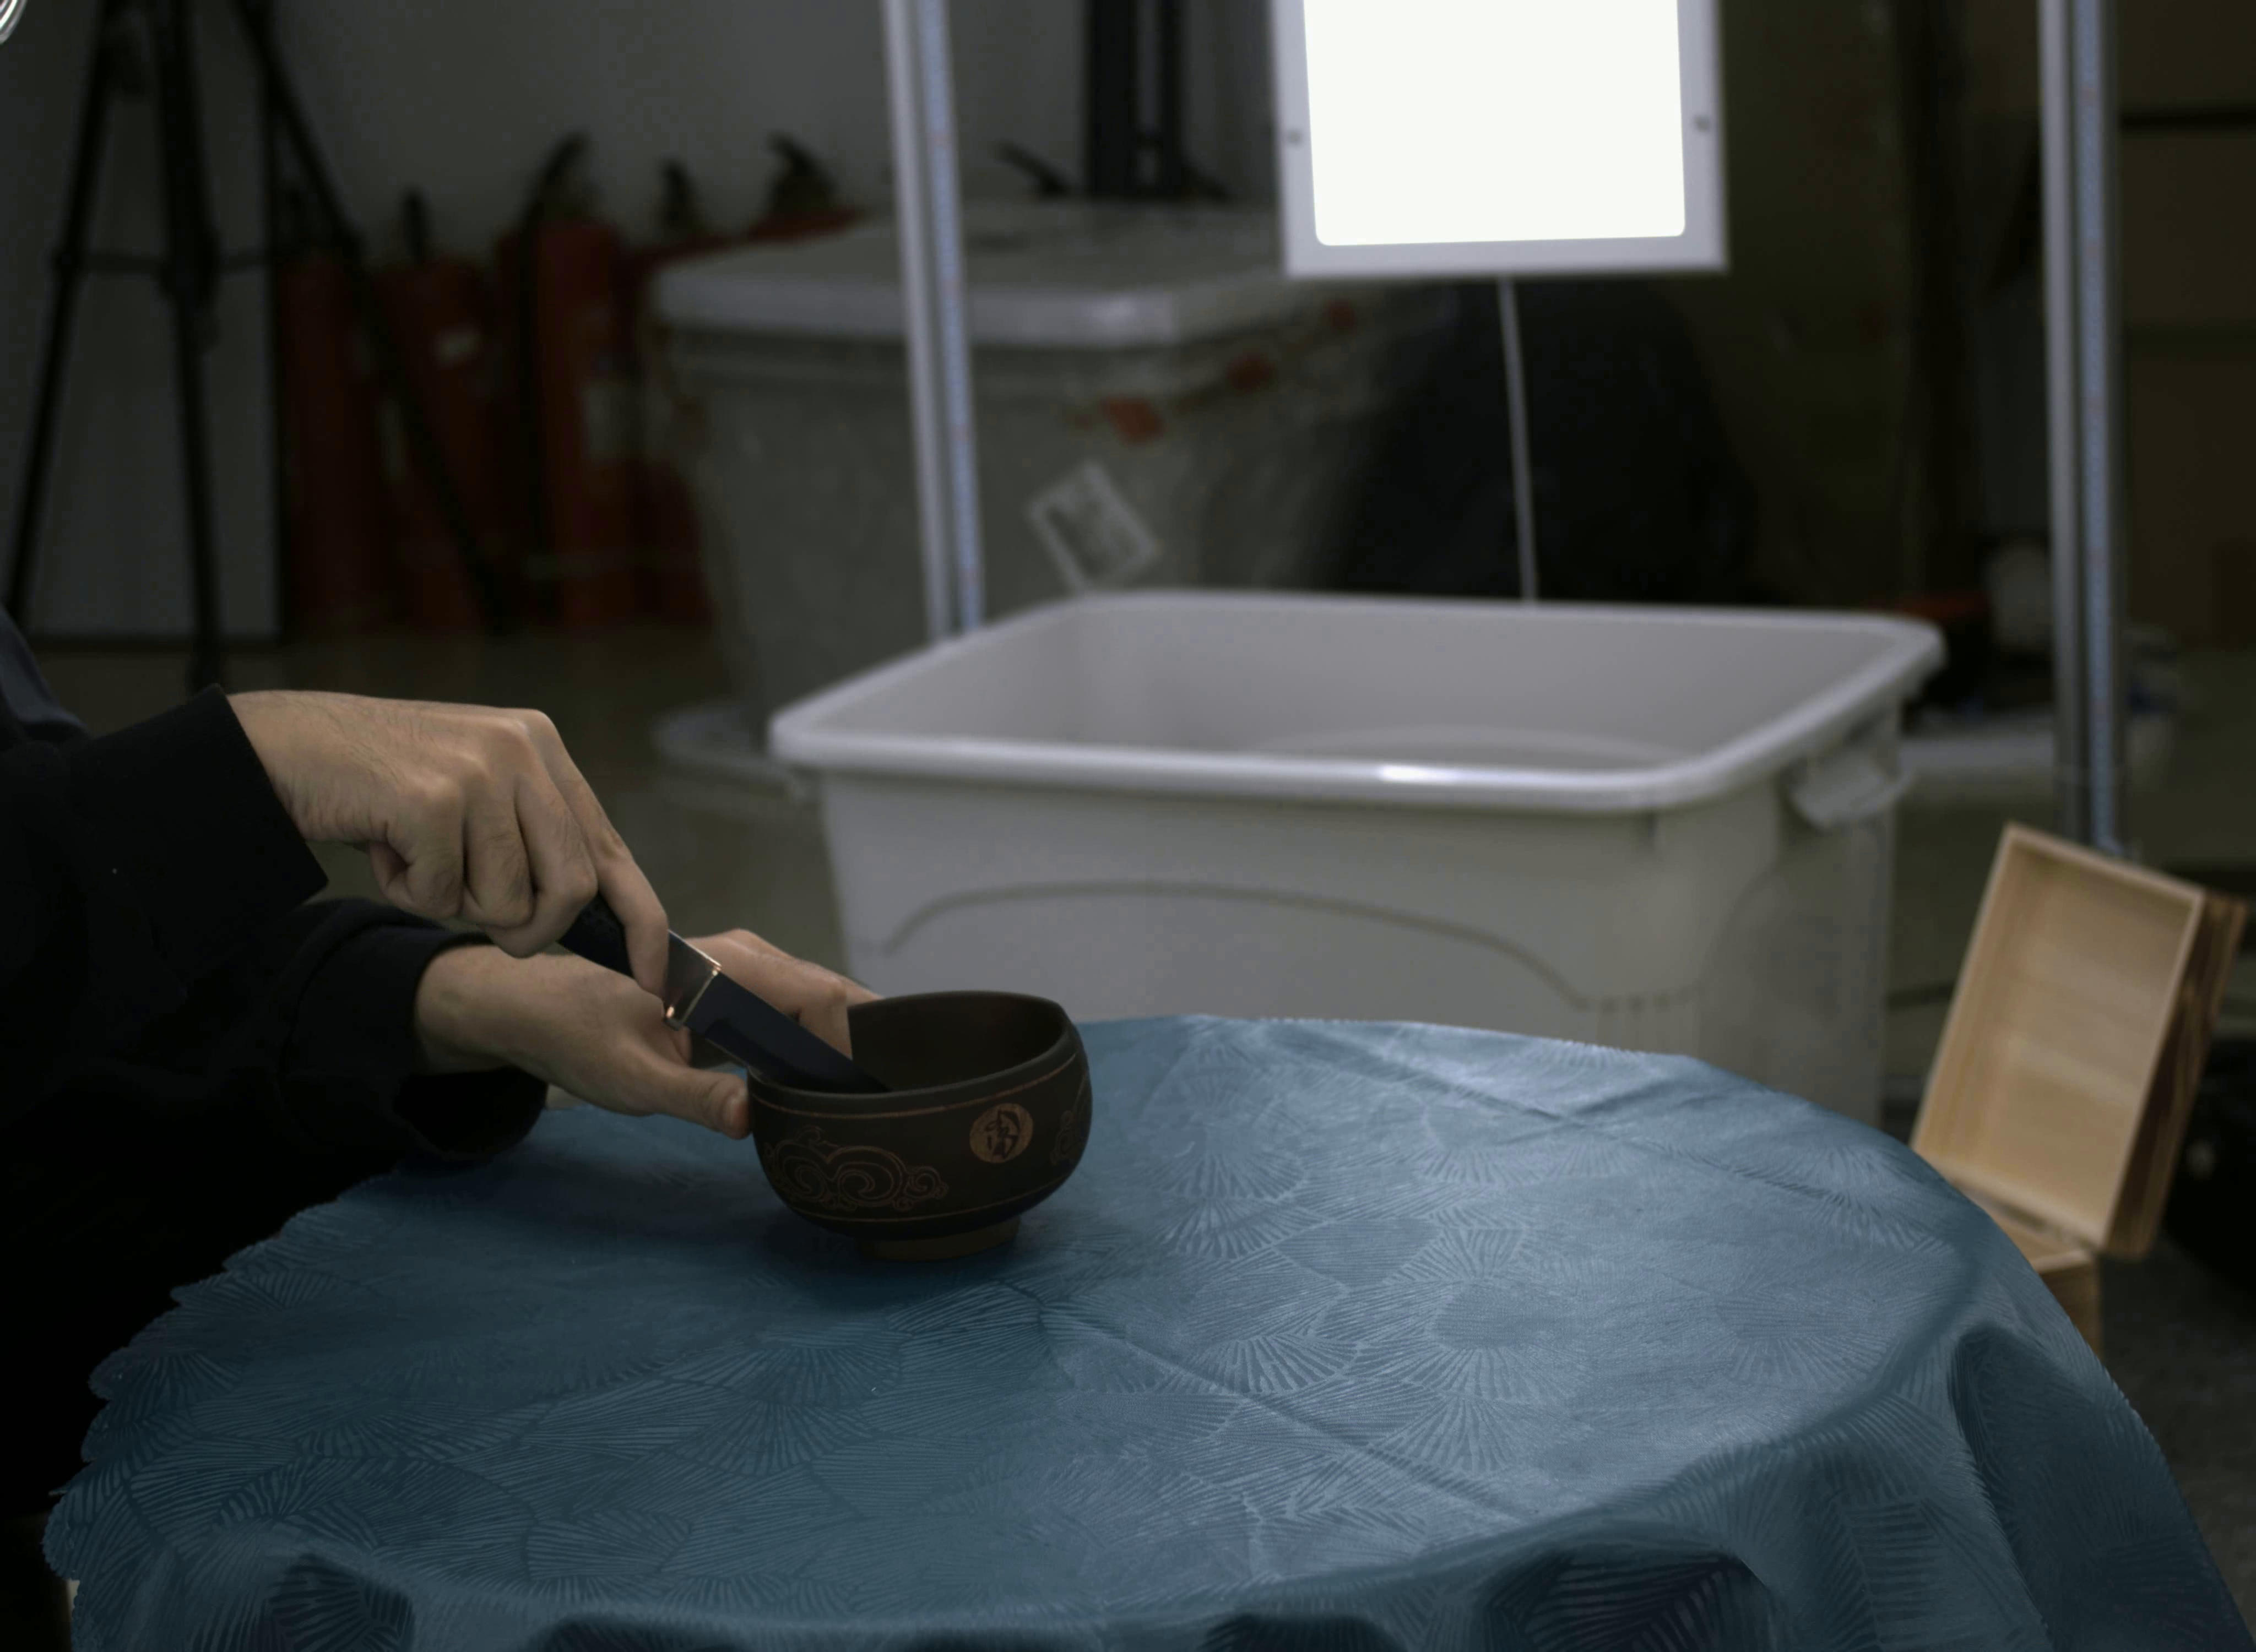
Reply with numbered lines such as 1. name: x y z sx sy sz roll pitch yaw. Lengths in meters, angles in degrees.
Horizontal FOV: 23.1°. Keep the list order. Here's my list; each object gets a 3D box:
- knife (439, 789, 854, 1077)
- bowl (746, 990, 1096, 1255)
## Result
1. knife: -0.138 0.058 1.826 0.223 0.026 0.017 37 -12 -16
2. bowl: -0.068 0.103 1.855 0.118 0.070 0.118 -7 12 0
